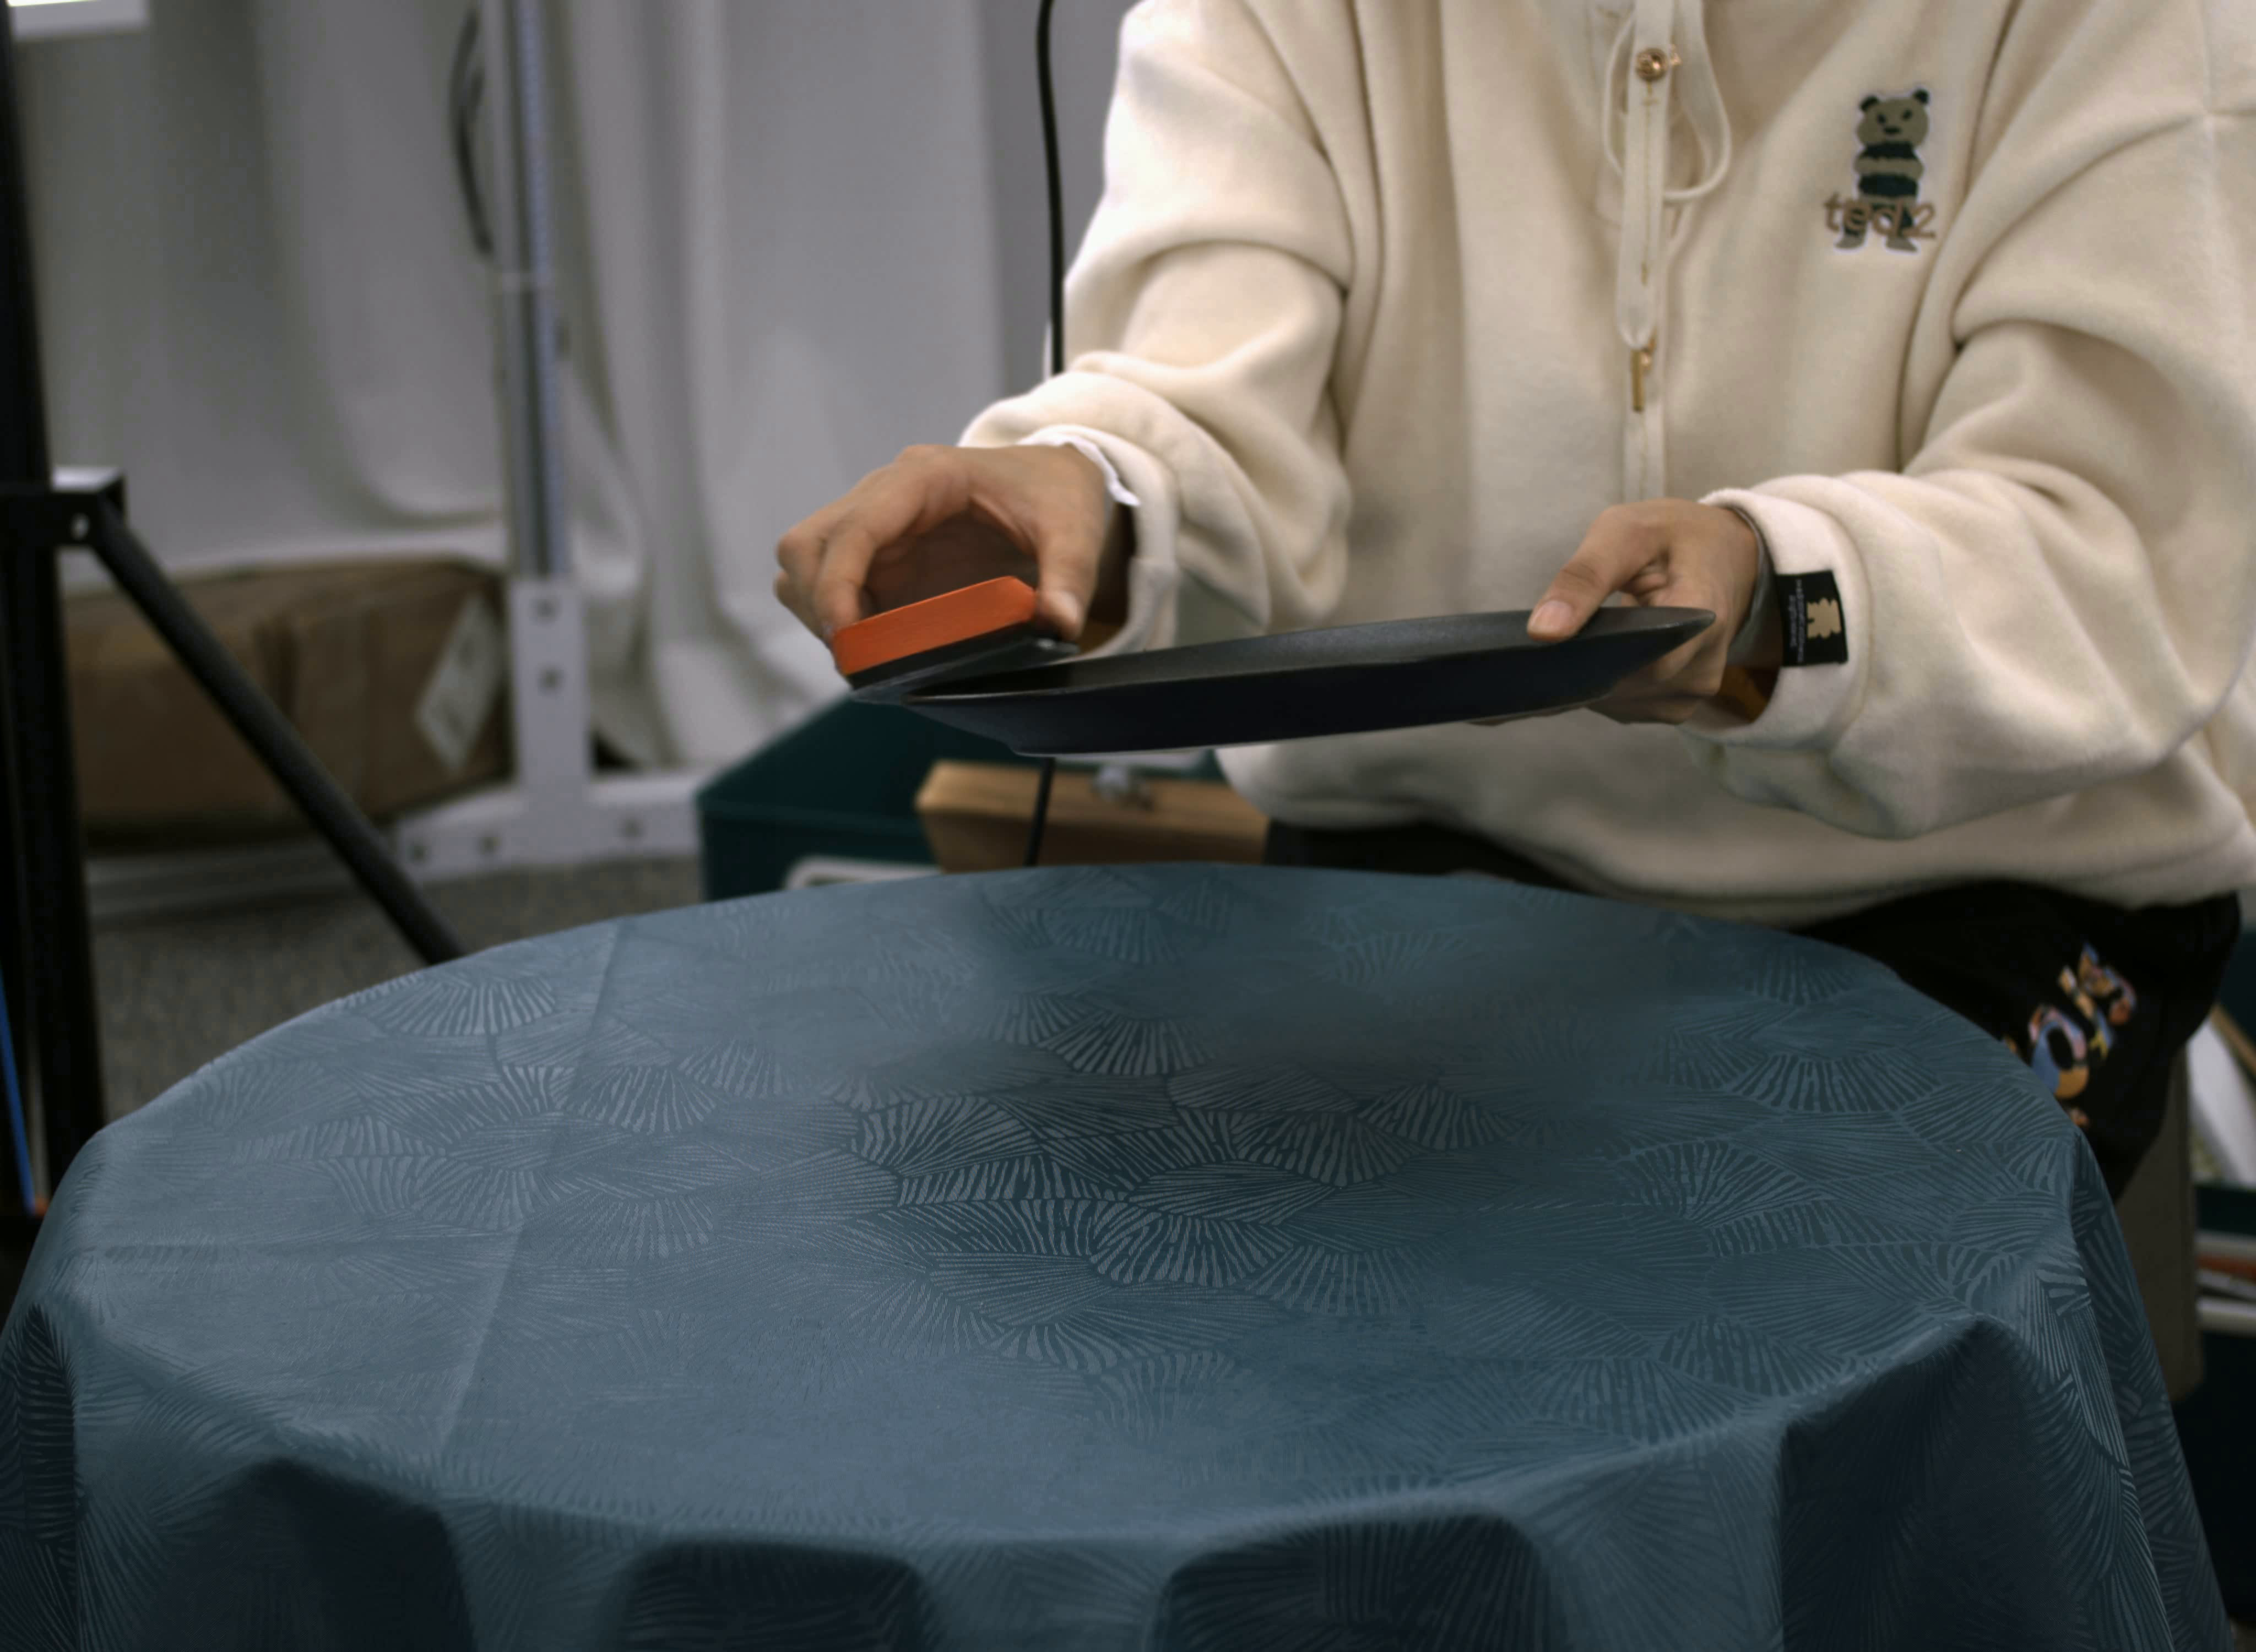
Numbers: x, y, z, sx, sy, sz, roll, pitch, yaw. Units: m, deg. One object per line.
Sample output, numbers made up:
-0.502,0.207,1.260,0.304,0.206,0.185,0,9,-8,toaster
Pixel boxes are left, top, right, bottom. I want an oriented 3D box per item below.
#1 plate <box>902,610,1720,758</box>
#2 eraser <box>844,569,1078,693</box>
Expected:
0.055,-0.042,1.577,0.243,0.023,0.245,-6,4,-1,plate
-0.050,-0.060,1.641,0.059,0.023,0.107,-18,0,8,eraser
